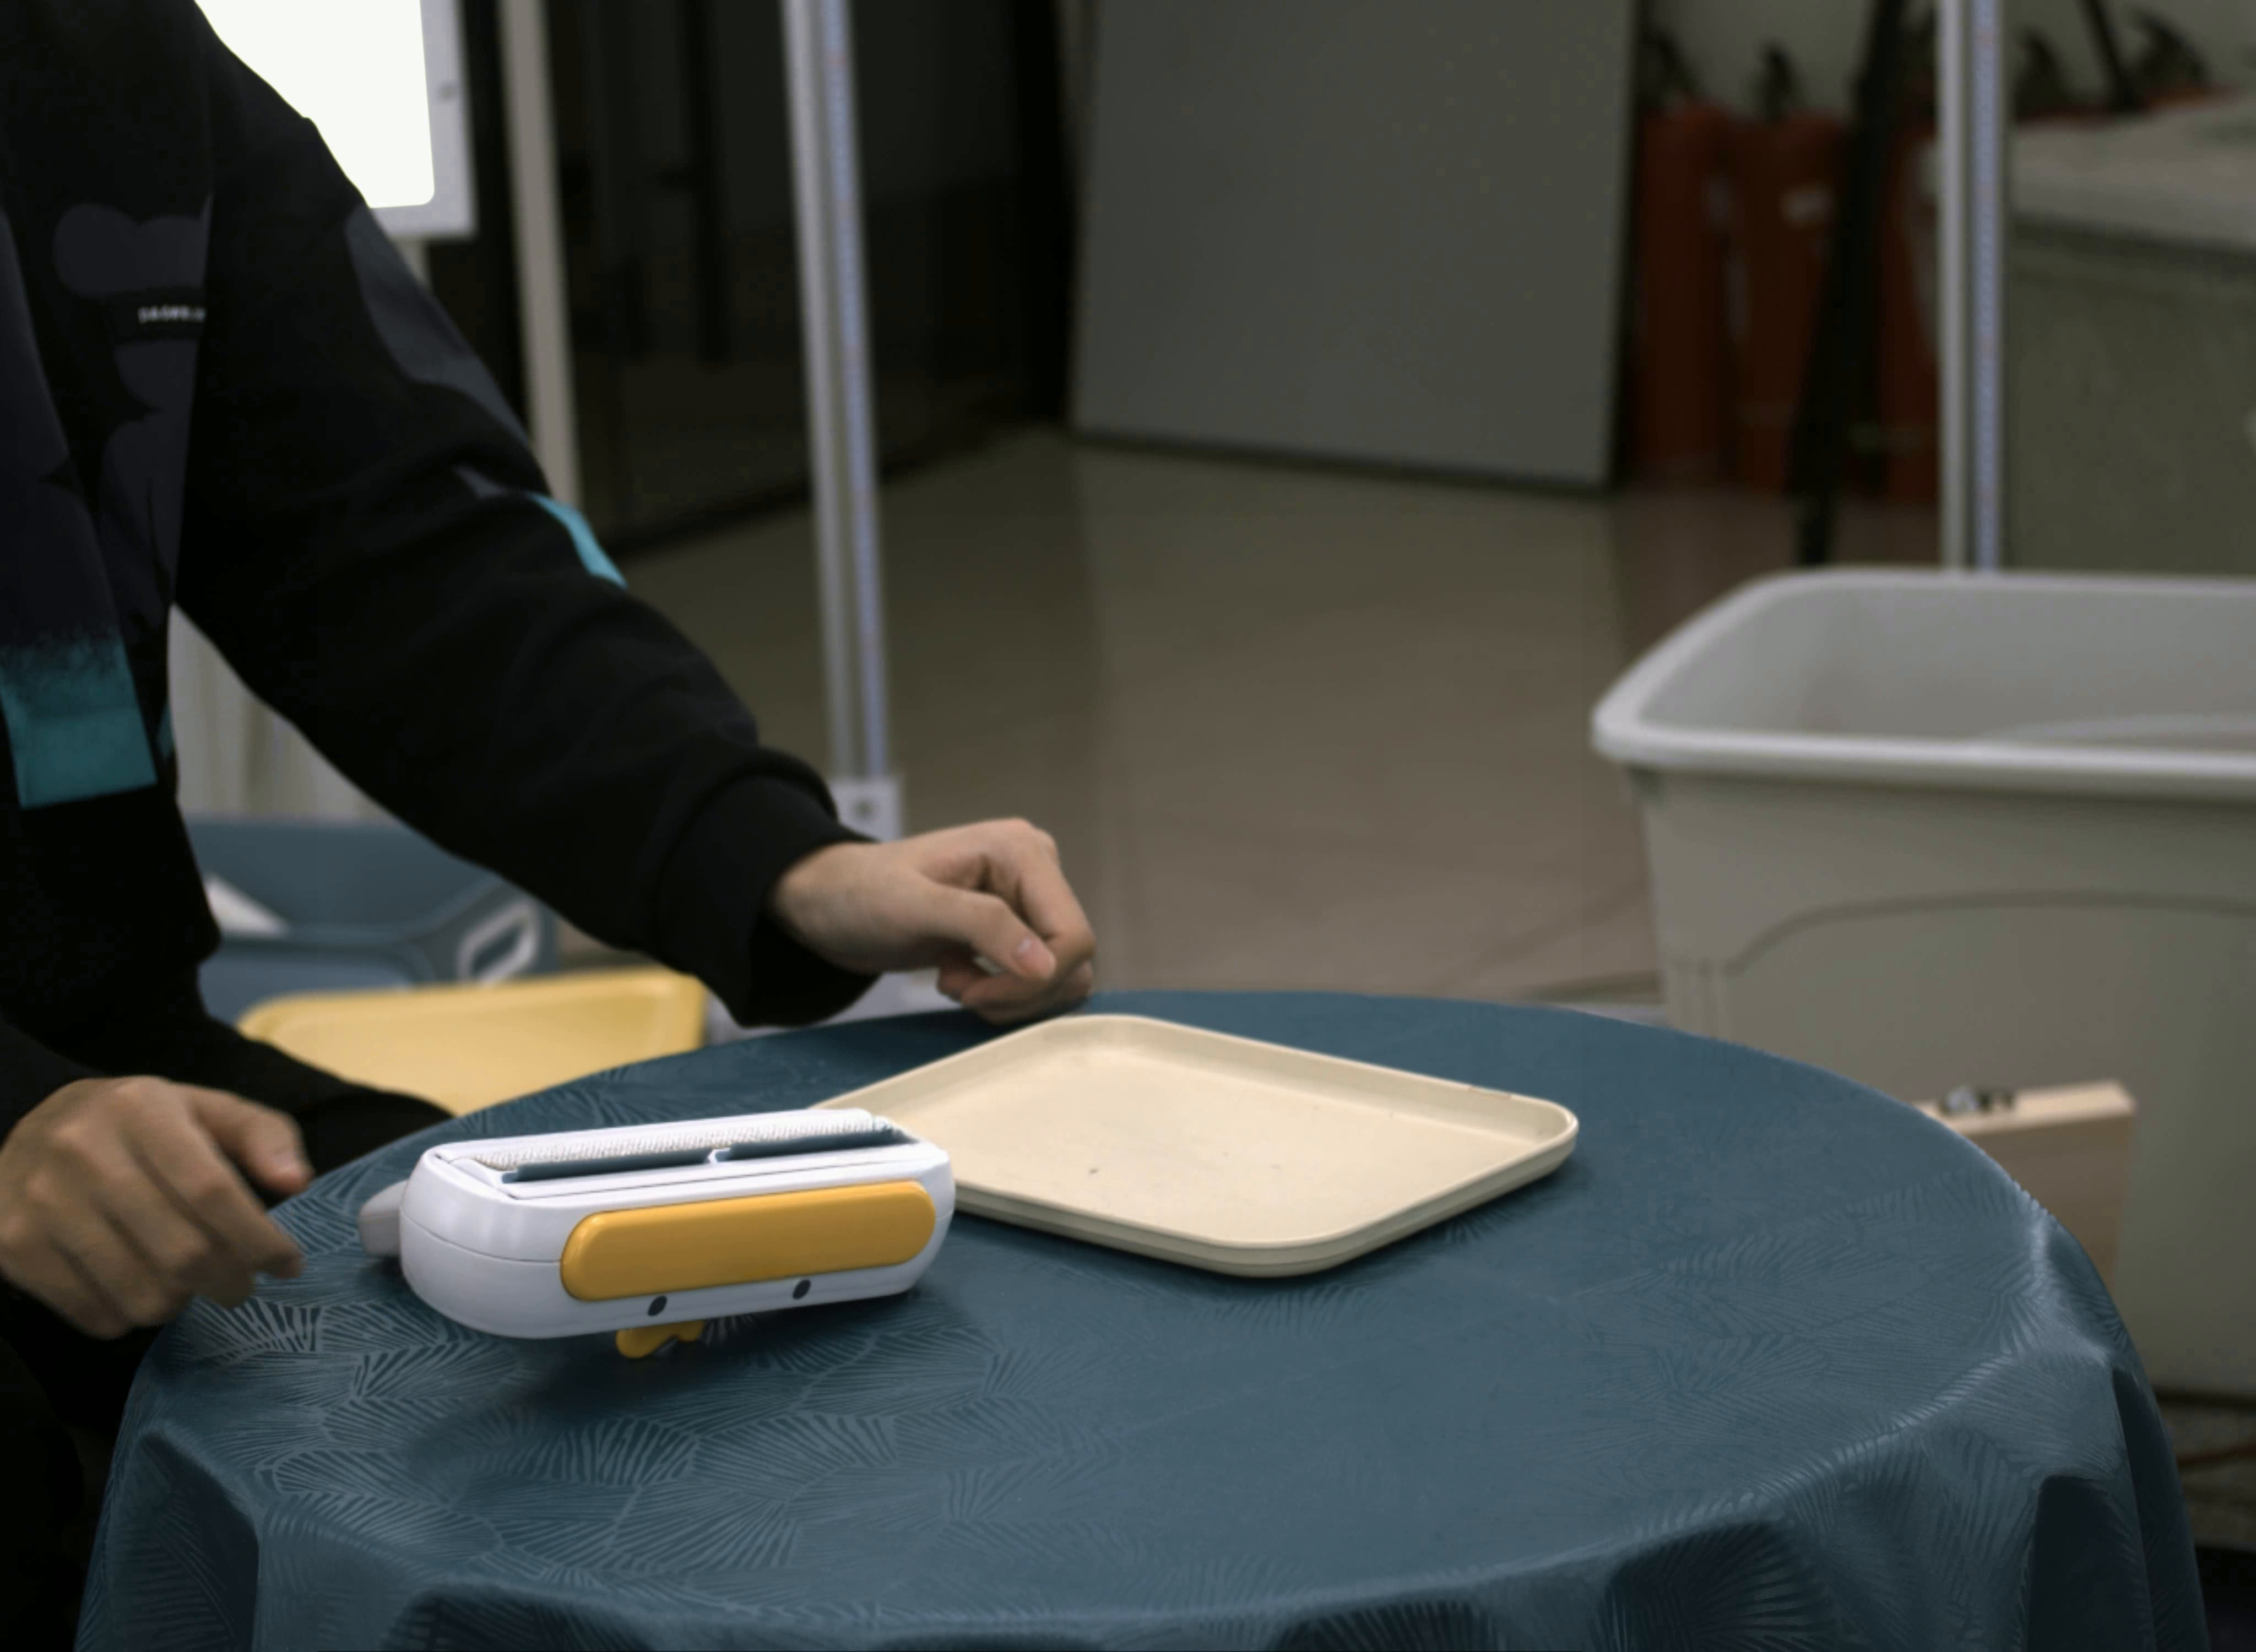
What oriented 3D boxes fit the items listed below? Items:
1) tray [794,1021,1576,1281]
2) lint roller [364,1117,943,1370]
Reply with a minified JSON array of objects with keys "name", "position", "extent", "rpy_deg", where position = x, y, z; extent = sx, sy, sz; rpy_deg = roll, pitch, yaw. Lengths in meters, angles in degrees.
[{"name":"tray","position":[0.018,0.107,1.788],"extent":[0.242,0.017,0.168],"rpy_deg":[9,20,43]},{"name":"lint roller","position":[-0.177,0.121,1.684],"extent":[0.188,0.075,0.194],"rpy_deg":[-7,11,-39]}]
